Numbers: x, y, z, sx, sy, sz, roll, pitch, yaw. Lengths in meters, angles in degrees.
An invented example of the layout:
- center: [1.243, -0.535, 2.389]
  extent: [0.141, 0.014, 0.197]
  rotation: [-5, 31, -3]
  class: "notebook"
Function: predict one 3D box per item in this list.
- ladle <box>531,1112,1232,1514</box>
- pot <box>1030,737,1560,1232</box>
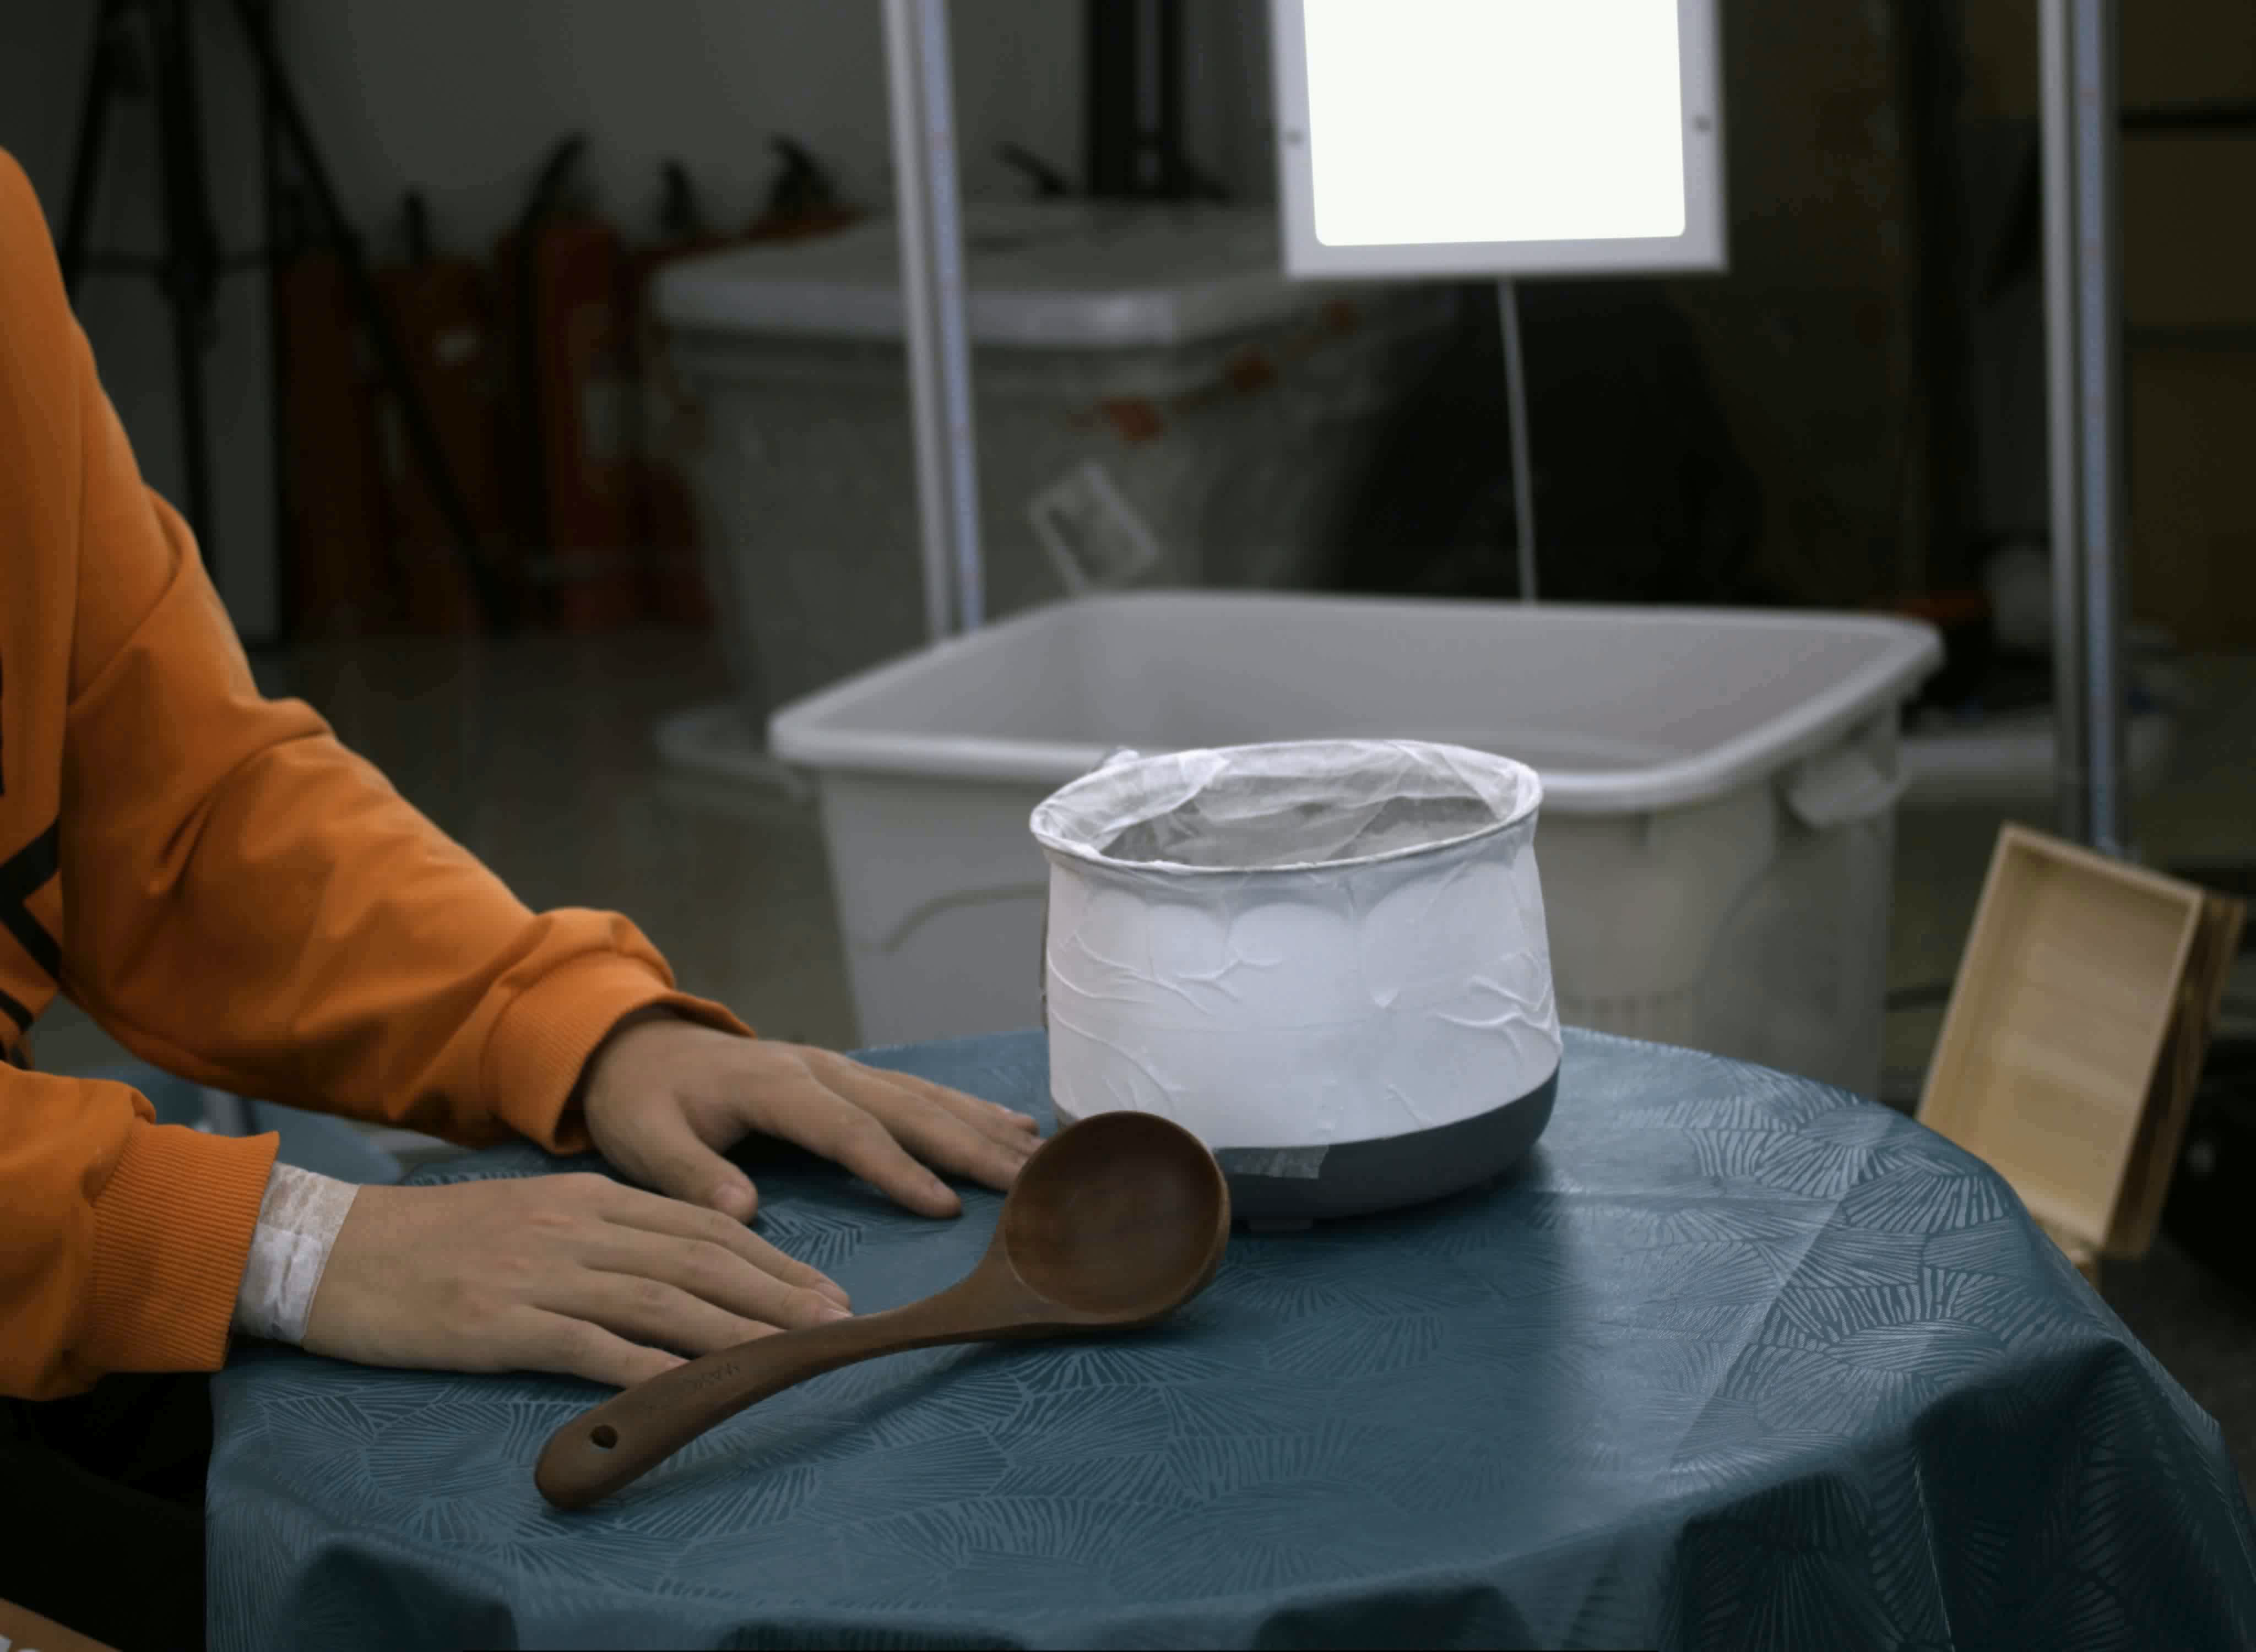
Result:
- center: [-0.074, 0.149, 1.705]
  extent: [0.253, 0.066, 0.077]
  rotation: [-16, 43, -39]
  class: "ladle"
- center: [0.043, 0.049, 1.912]
  extent: [0.174, 0.137, 0.238]
  rotation: [-14, 16, -33]
  class: "pot"
